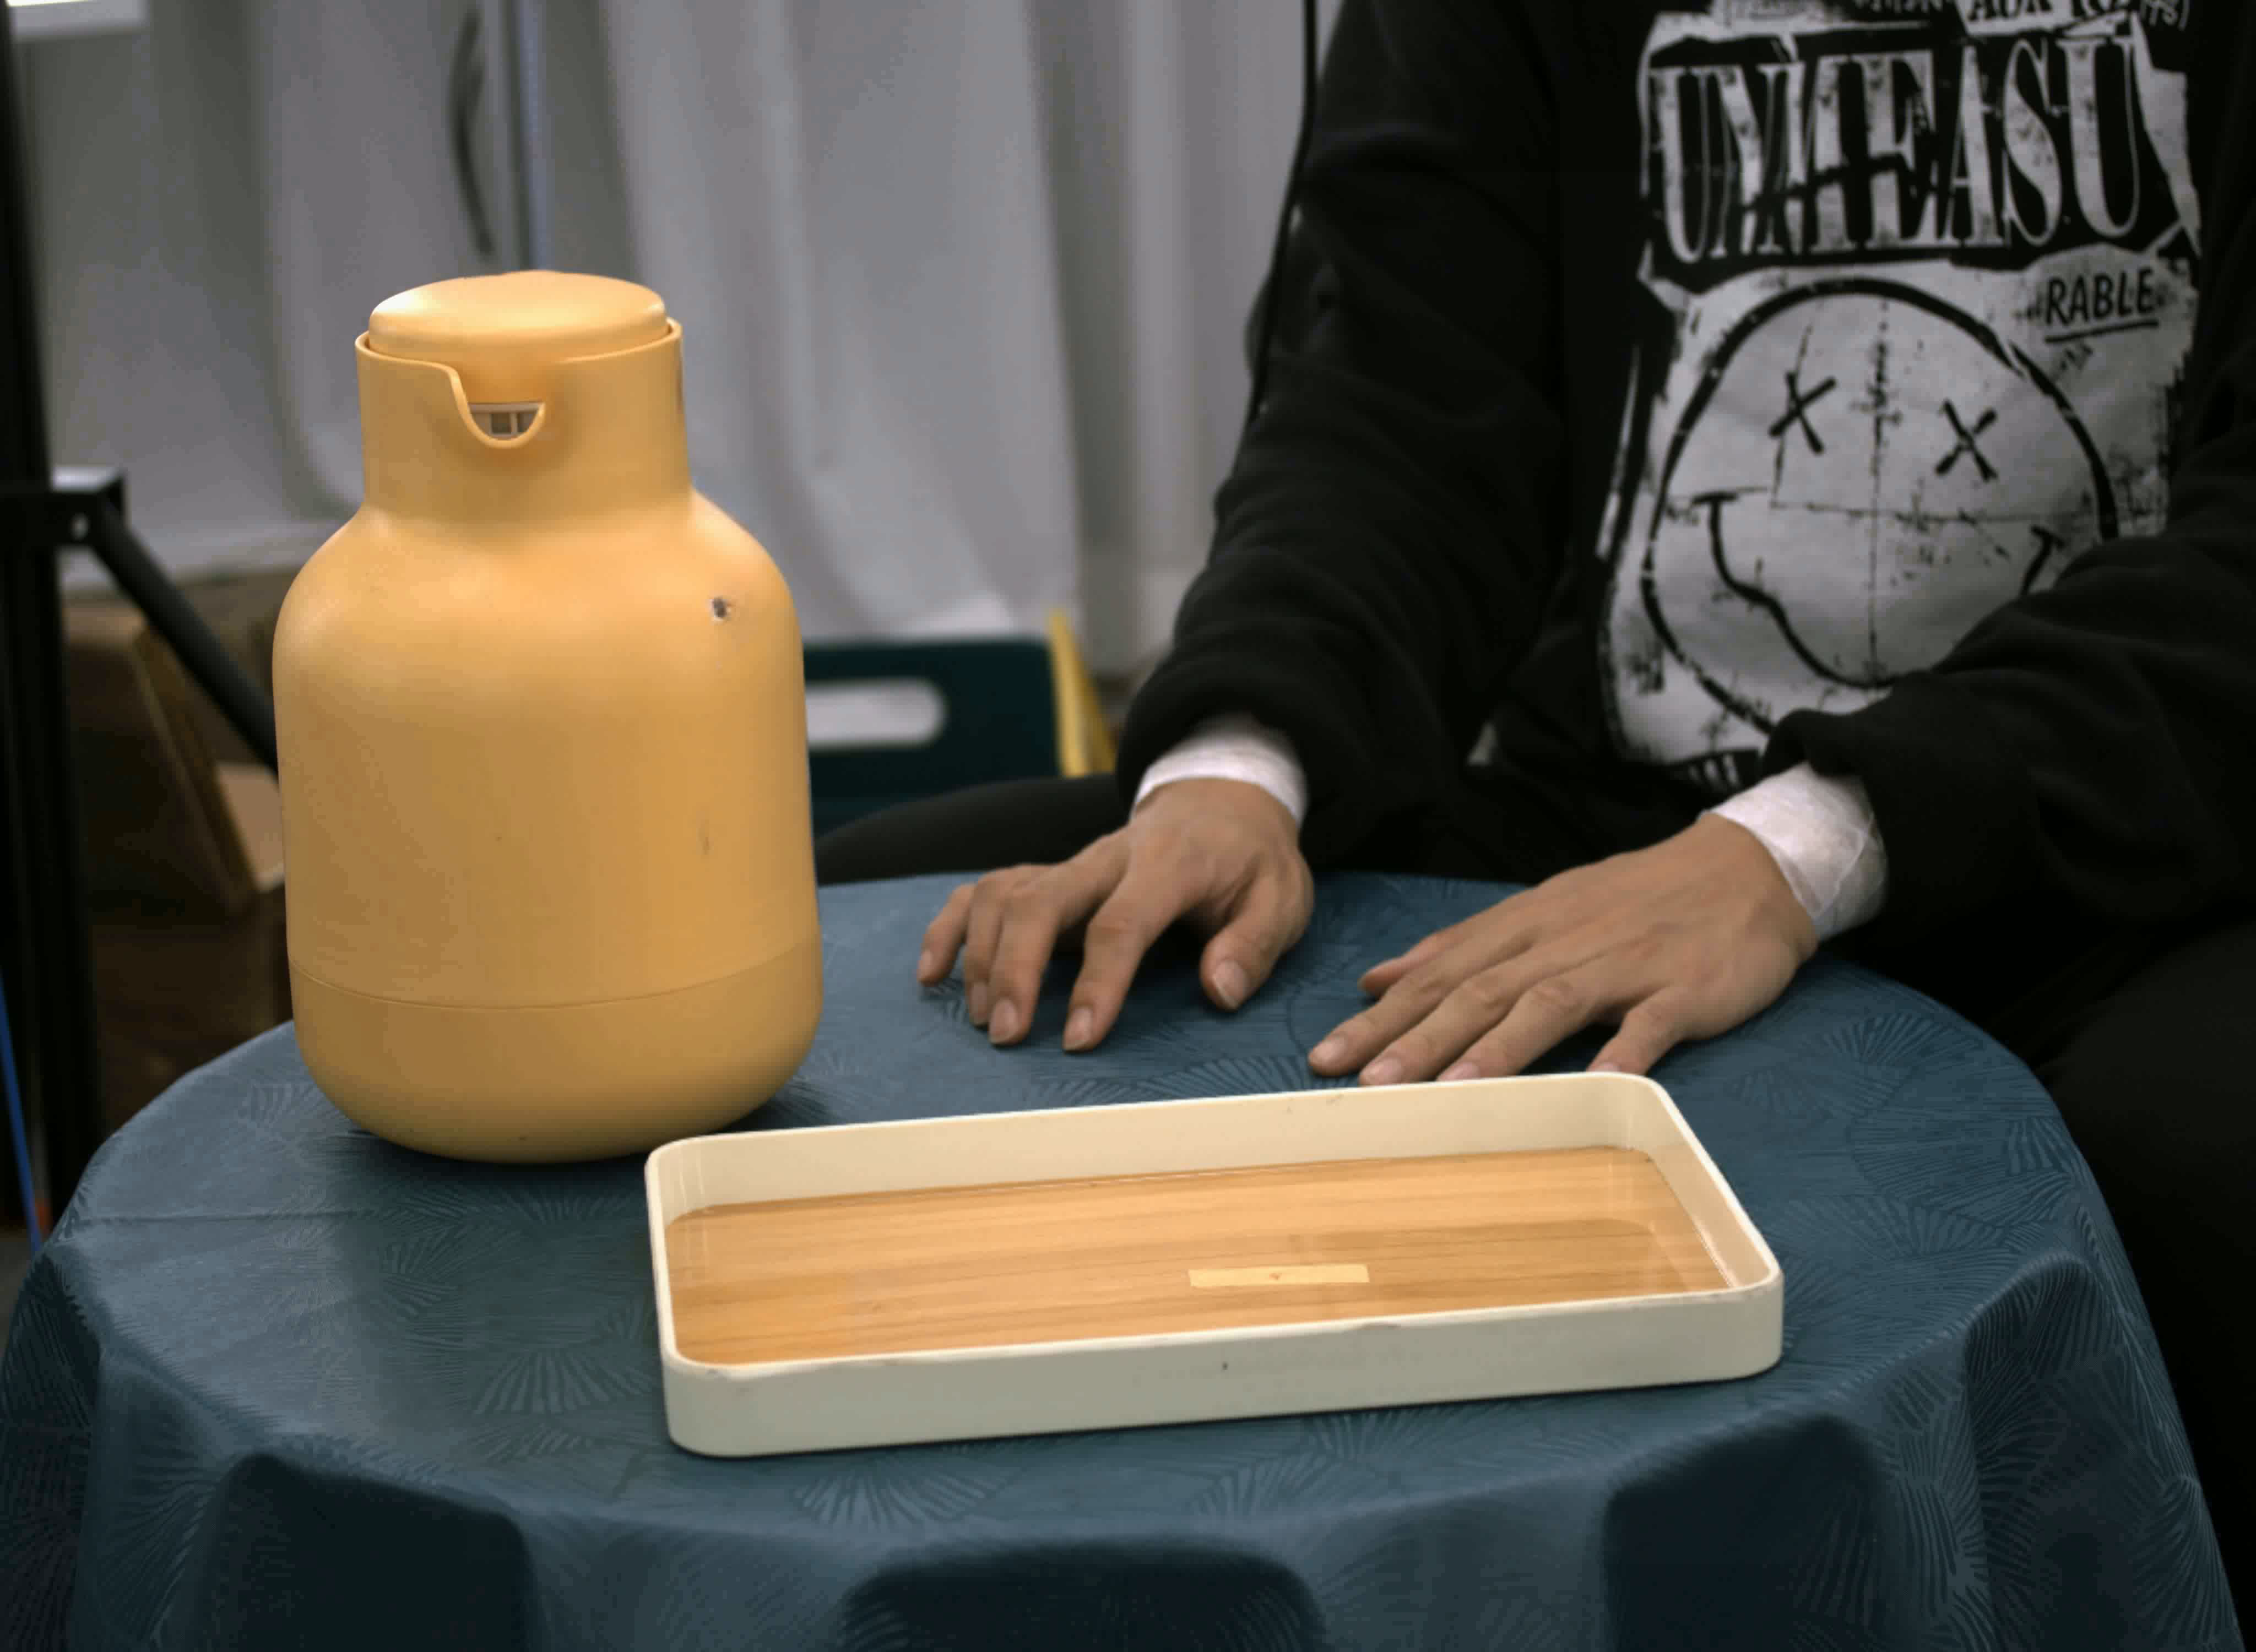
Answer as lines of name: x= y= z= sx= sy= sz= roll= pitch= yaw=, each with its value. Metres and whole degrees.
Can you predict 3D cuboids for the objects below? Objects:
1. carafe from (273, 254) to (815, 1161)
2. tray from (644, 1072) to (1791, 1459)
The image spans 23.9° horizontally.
carafe: x=-0.177 y=-0.044 z=1.643 sx=0.163 sy=0.260 sz=0.203 roll=1 pitch=17 yaw=1
tray: x=0.019 y=0.119 z=1.464 sx=0.298 sy=0.027 sz=0.193 roll=-4 pitch=16 yaw=-4
